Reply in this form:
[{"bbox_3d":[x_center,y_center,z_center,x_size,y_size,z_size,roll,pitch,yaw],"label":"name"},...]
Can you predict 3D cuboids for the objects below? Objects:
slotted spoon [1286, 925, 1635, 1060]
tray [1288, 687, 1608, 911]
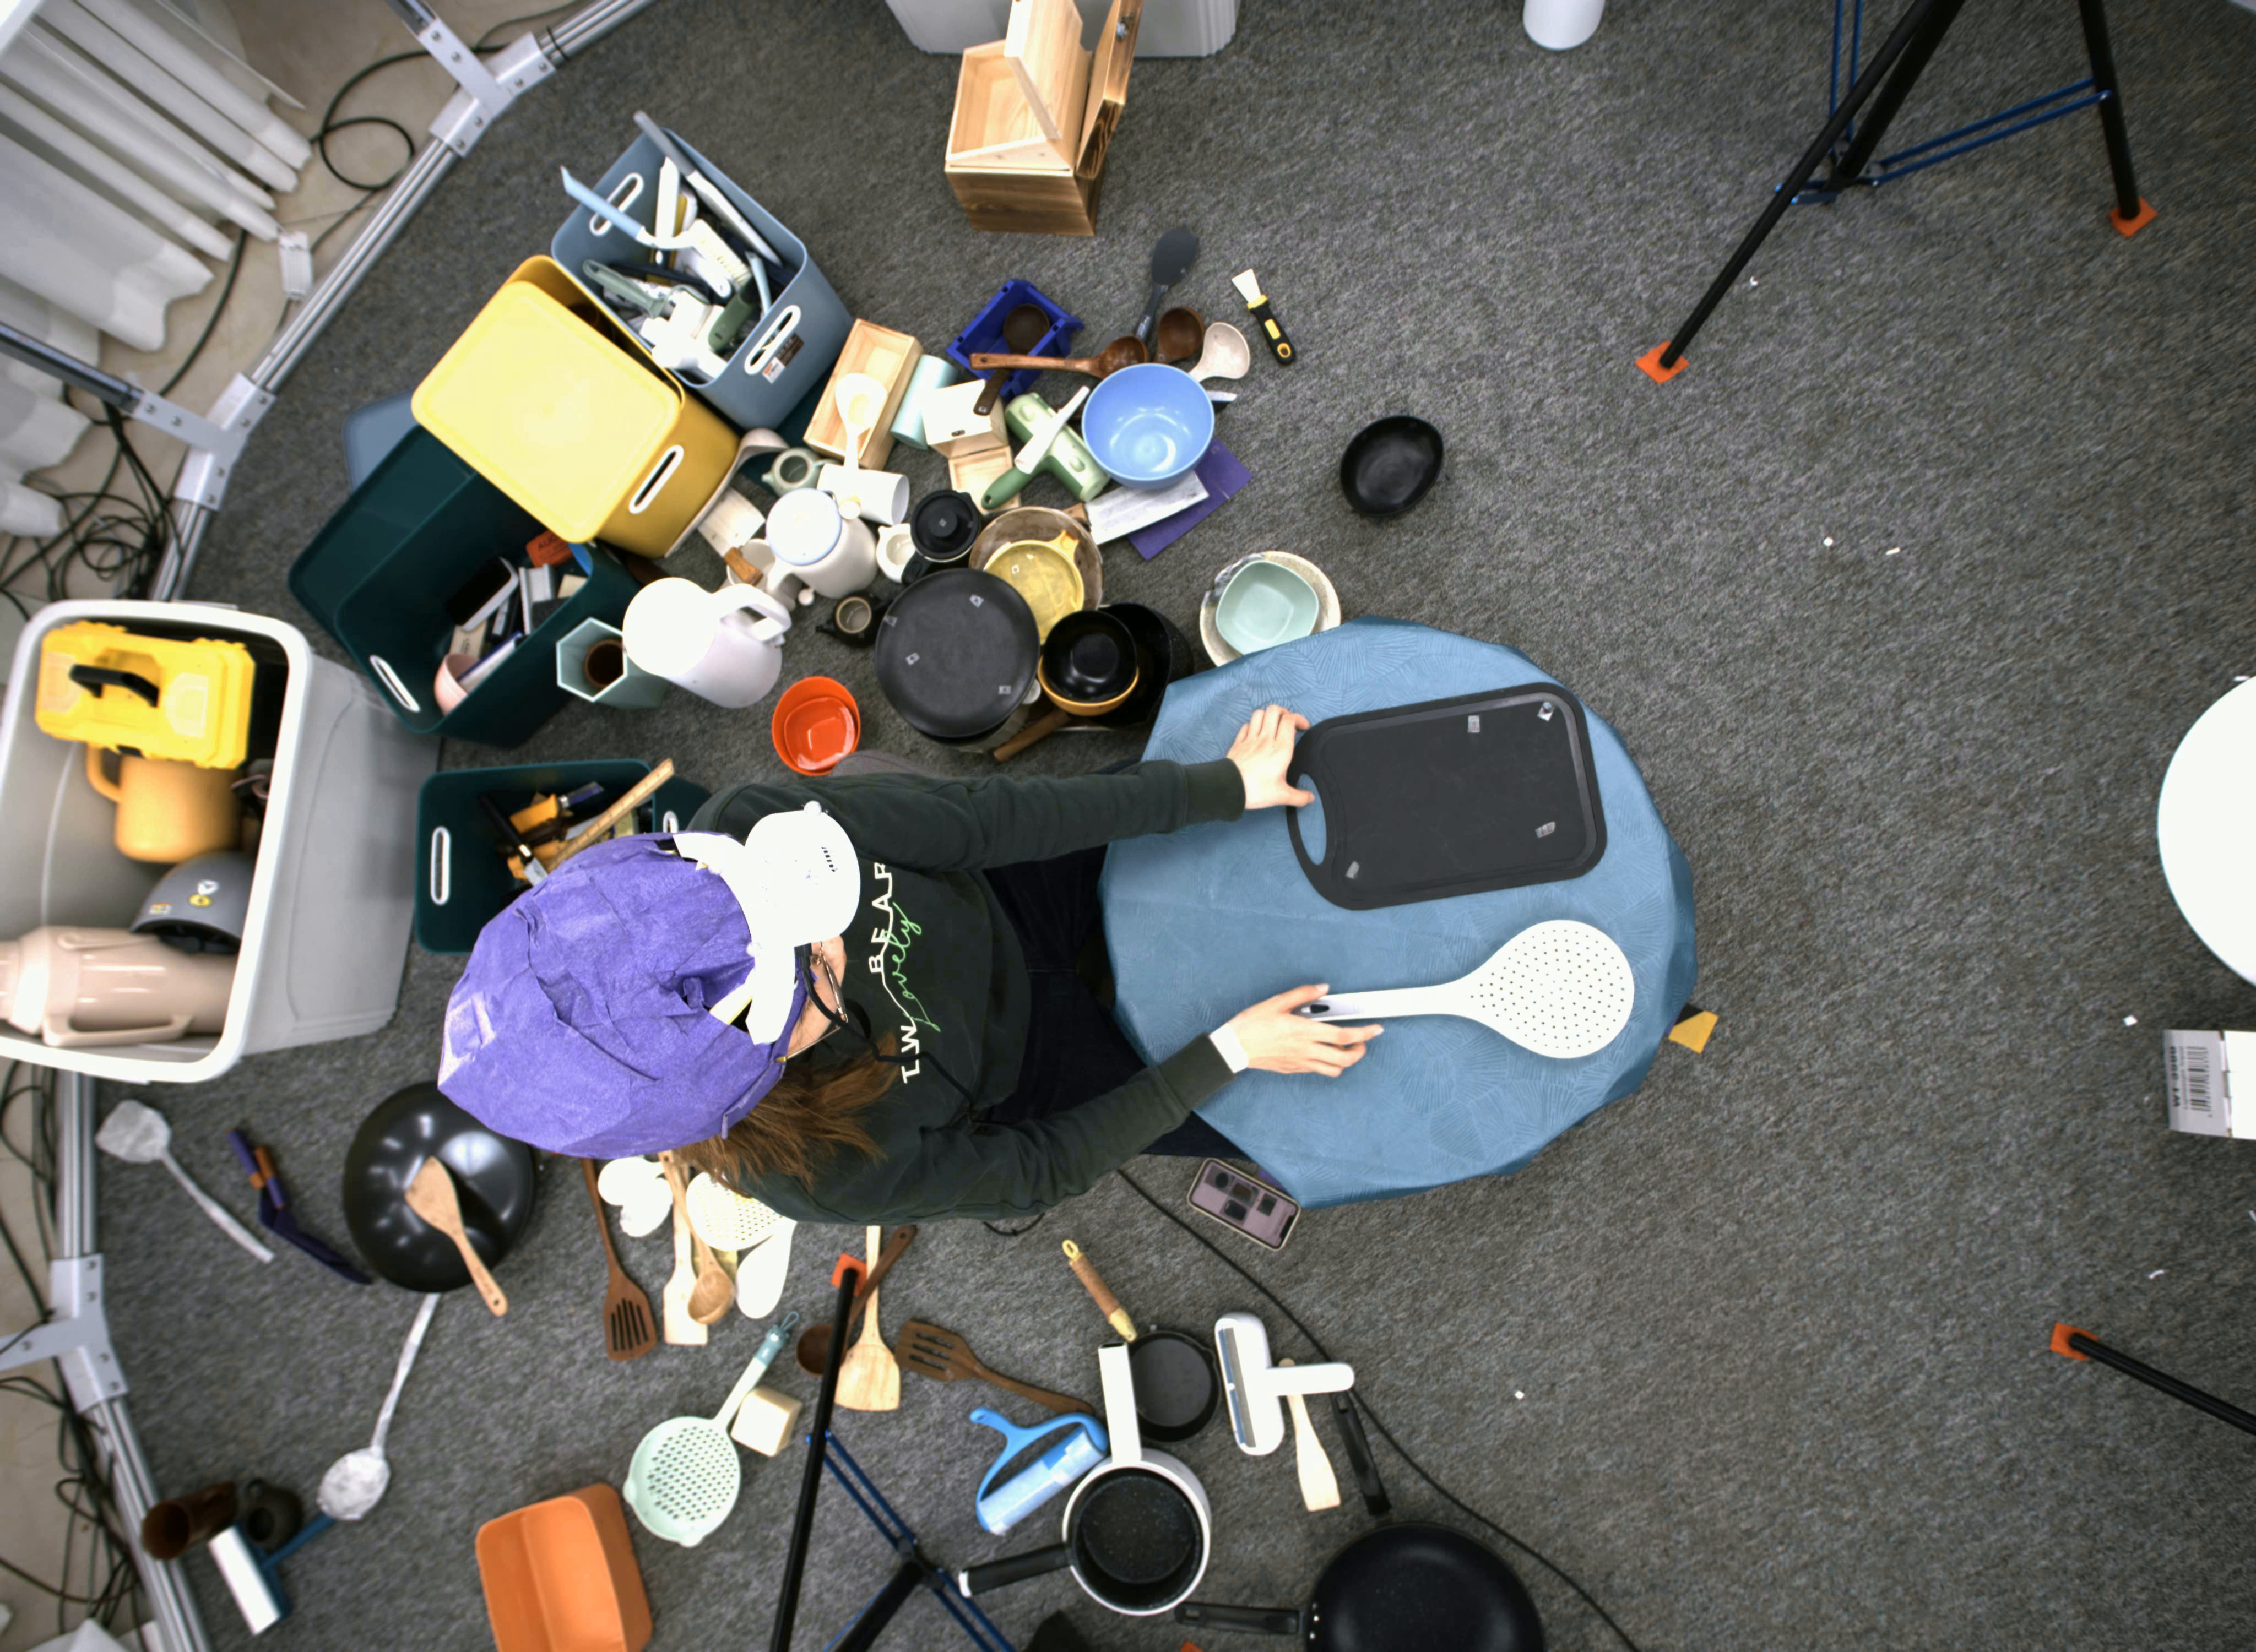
[{"bbox_3d":[0.337,0.178,1.422,0.351,0.046,0.135,-6,83,11],"label":"slotted spoon"},{"bbox_3d":[0.333,-0.029,1.457,0.327,0.010,0.210,-9,84,10],"label":"tray"}]
